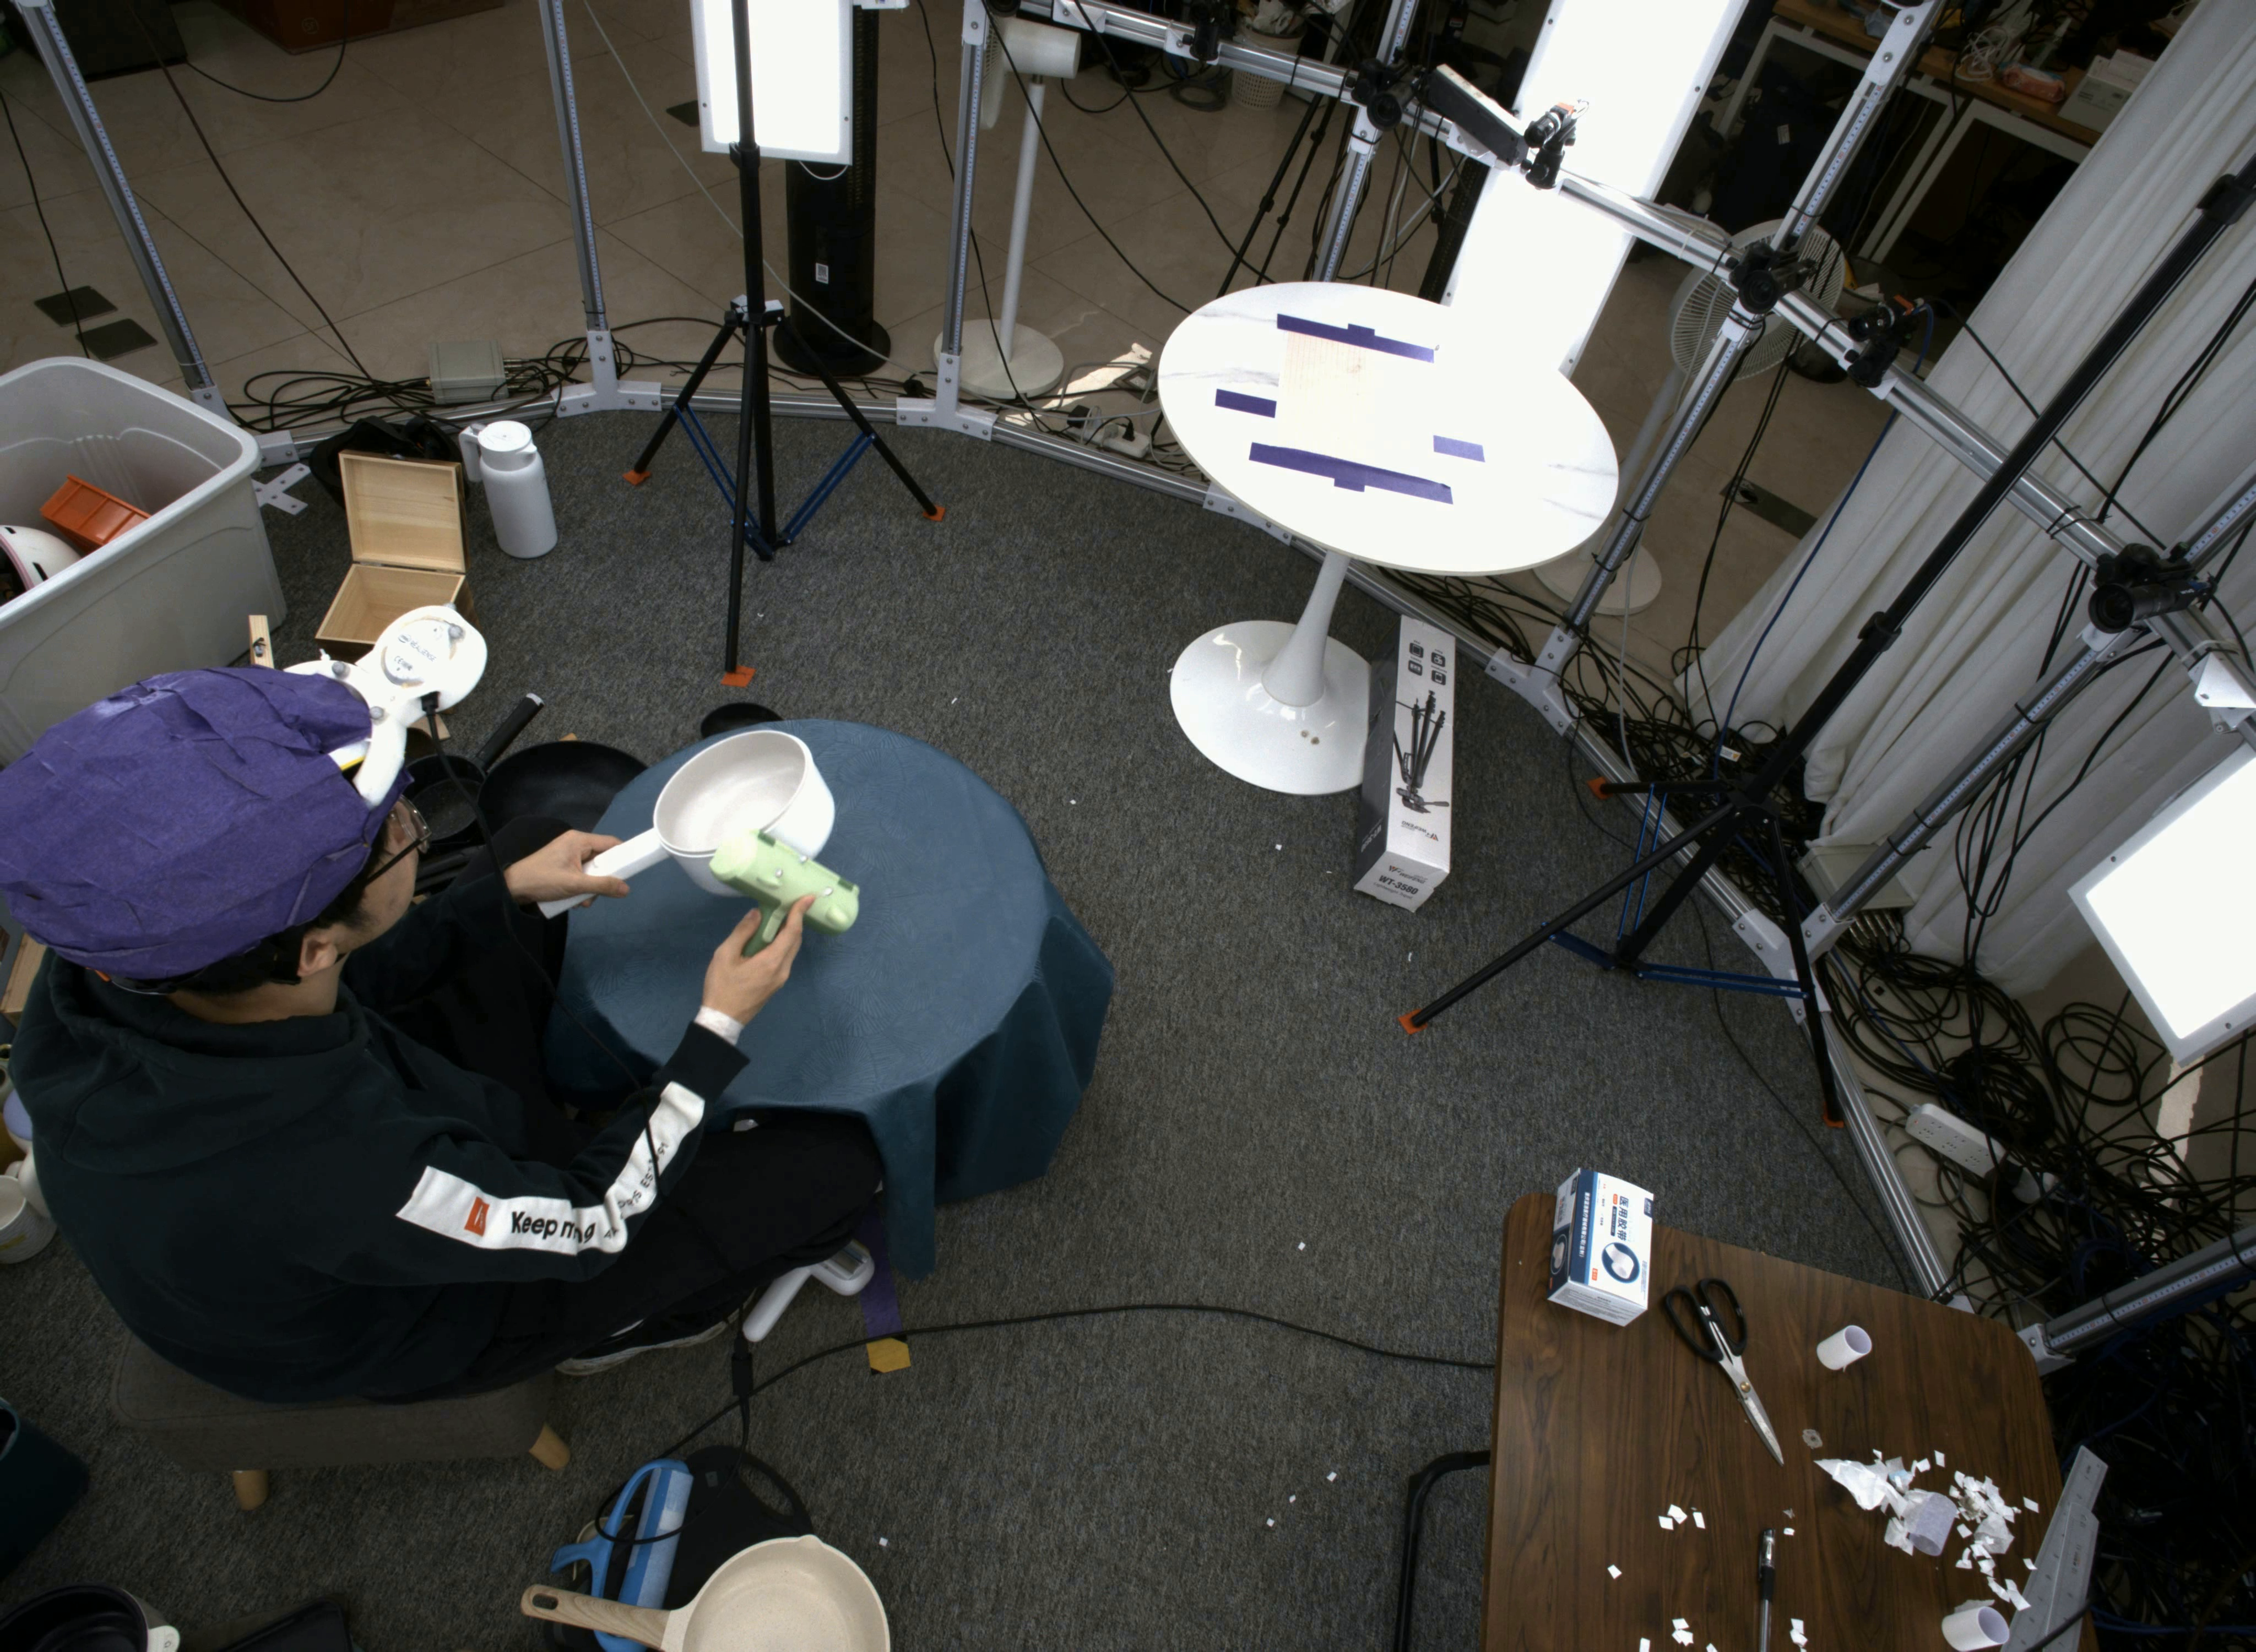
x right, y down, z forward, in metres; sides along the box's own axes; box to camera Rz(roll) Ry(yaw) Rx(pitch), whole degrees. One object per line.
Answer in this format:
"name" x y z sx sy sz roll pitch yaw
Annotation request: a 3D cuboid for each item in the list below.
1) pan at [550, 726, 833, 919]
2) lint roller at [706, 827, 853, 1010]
"pan" -0.517 0.024 1.525 0.353 0.106 0.194 -30 47 -8
"lint roller" -0.394 0.119 1.424 0.079 0.205 0.183 11 73 30
